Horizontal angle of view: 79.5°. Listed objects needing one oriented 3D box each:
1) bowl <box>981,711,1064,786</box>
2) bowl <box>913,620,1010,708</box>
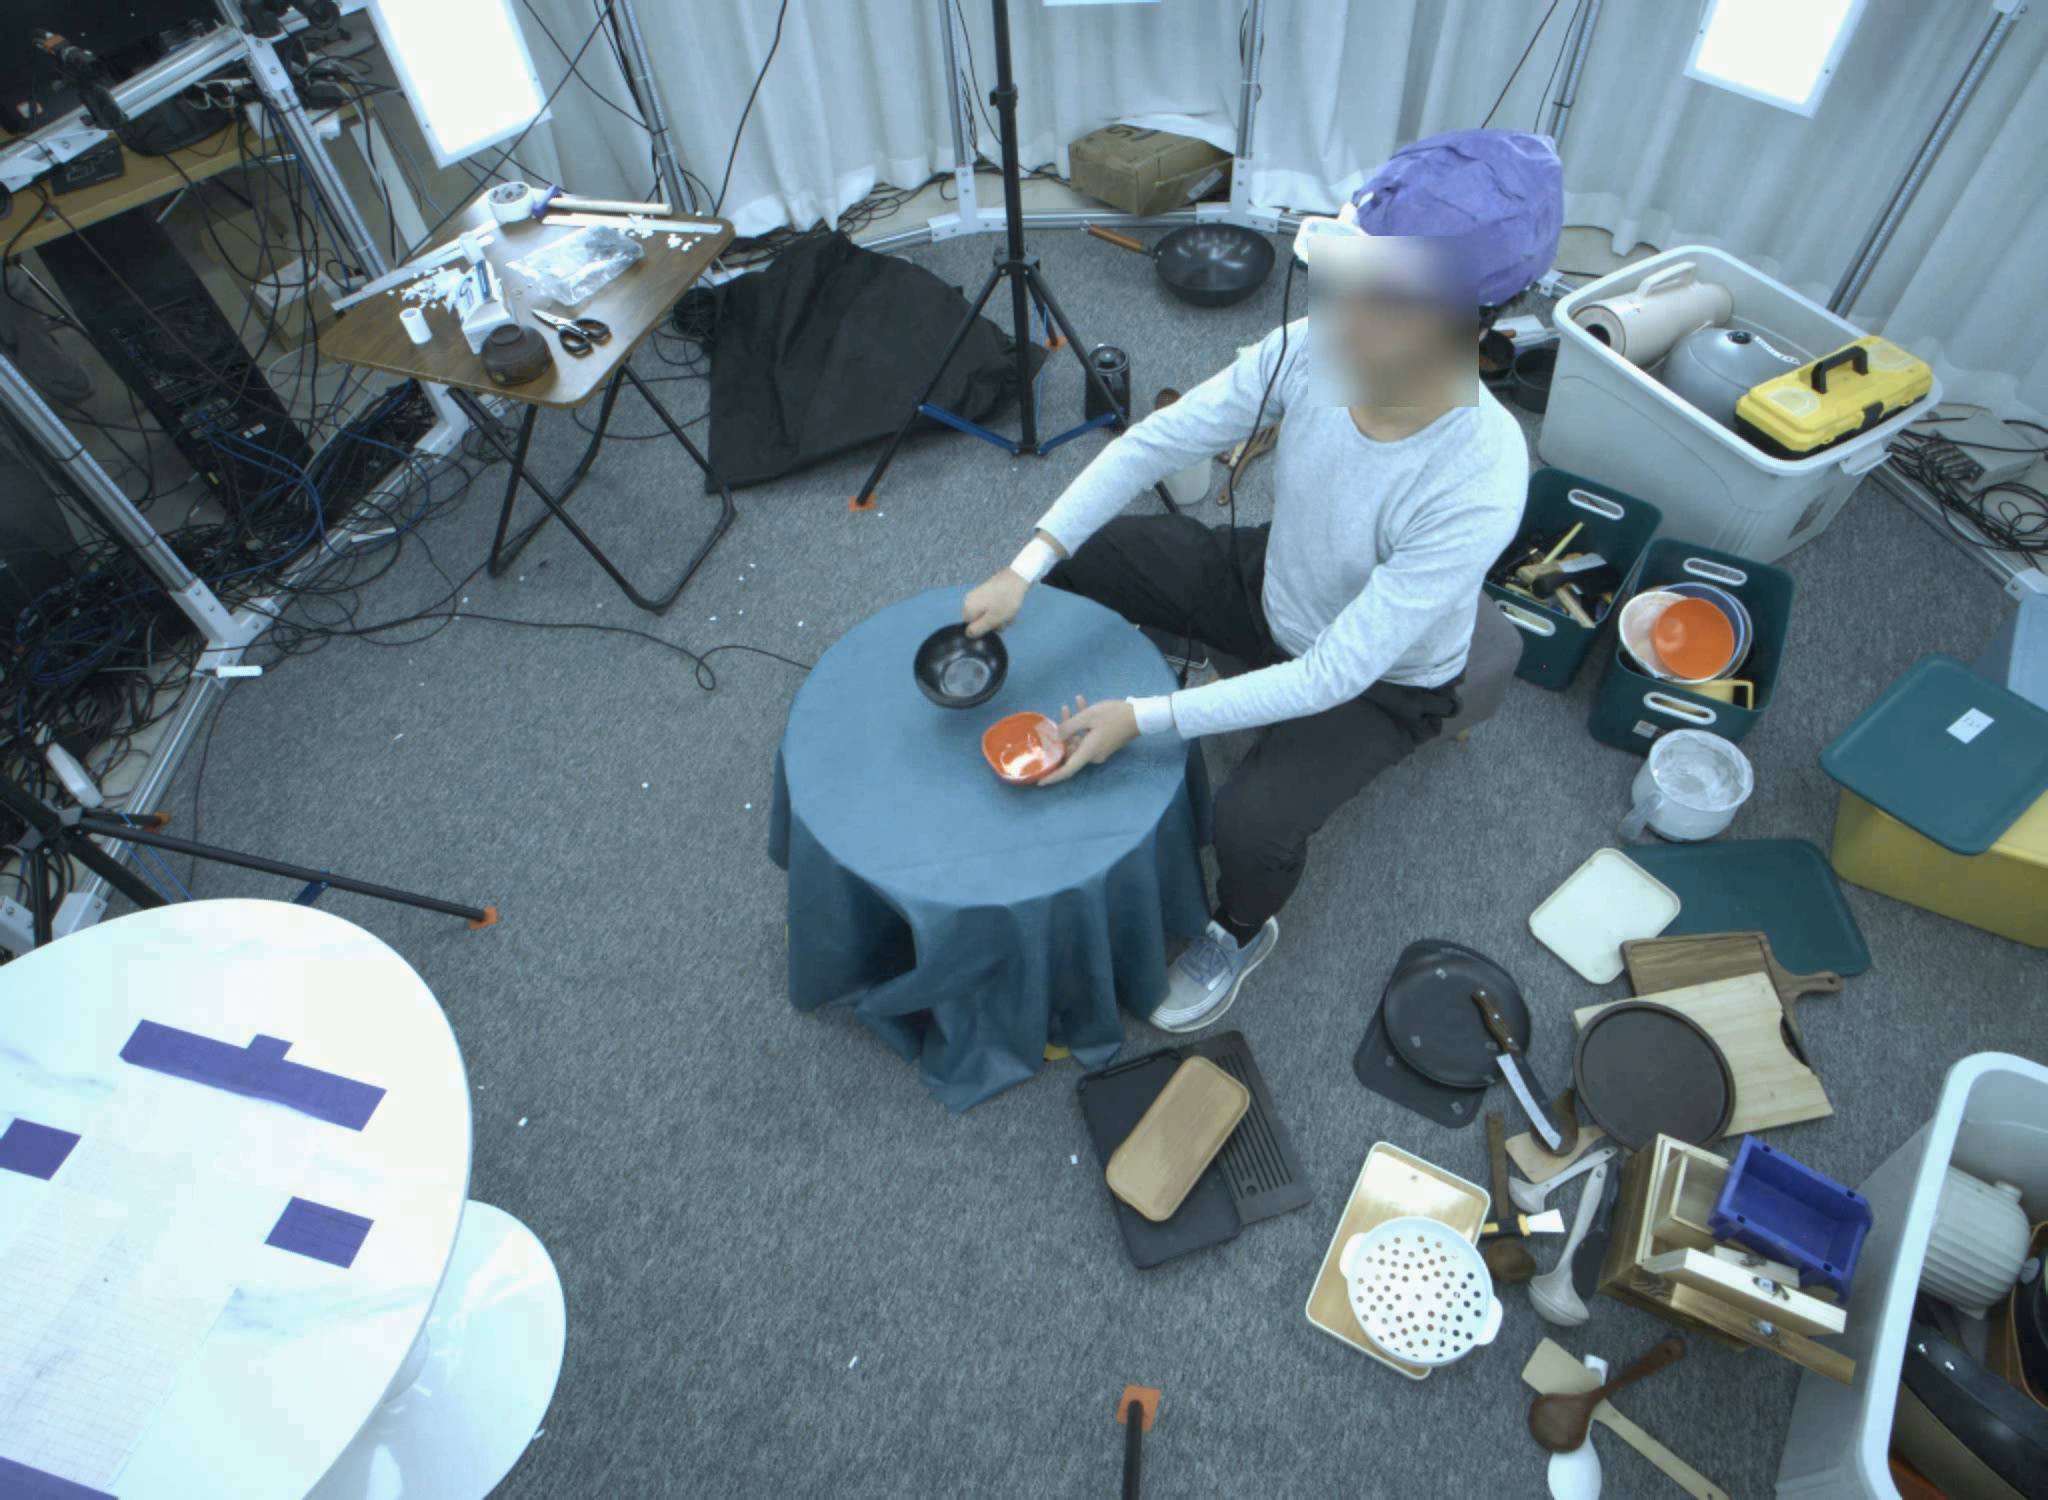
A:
[{"bbox_3d":[0.000,0.006,1.756,0.118,0.052,0.118,-2,55,4],"label":"bowl"},{"bbox_3d":[-0.089,-0.116,1.772,0.140,0.050,0.139,-1,66,2],"label":"bowl"}]
